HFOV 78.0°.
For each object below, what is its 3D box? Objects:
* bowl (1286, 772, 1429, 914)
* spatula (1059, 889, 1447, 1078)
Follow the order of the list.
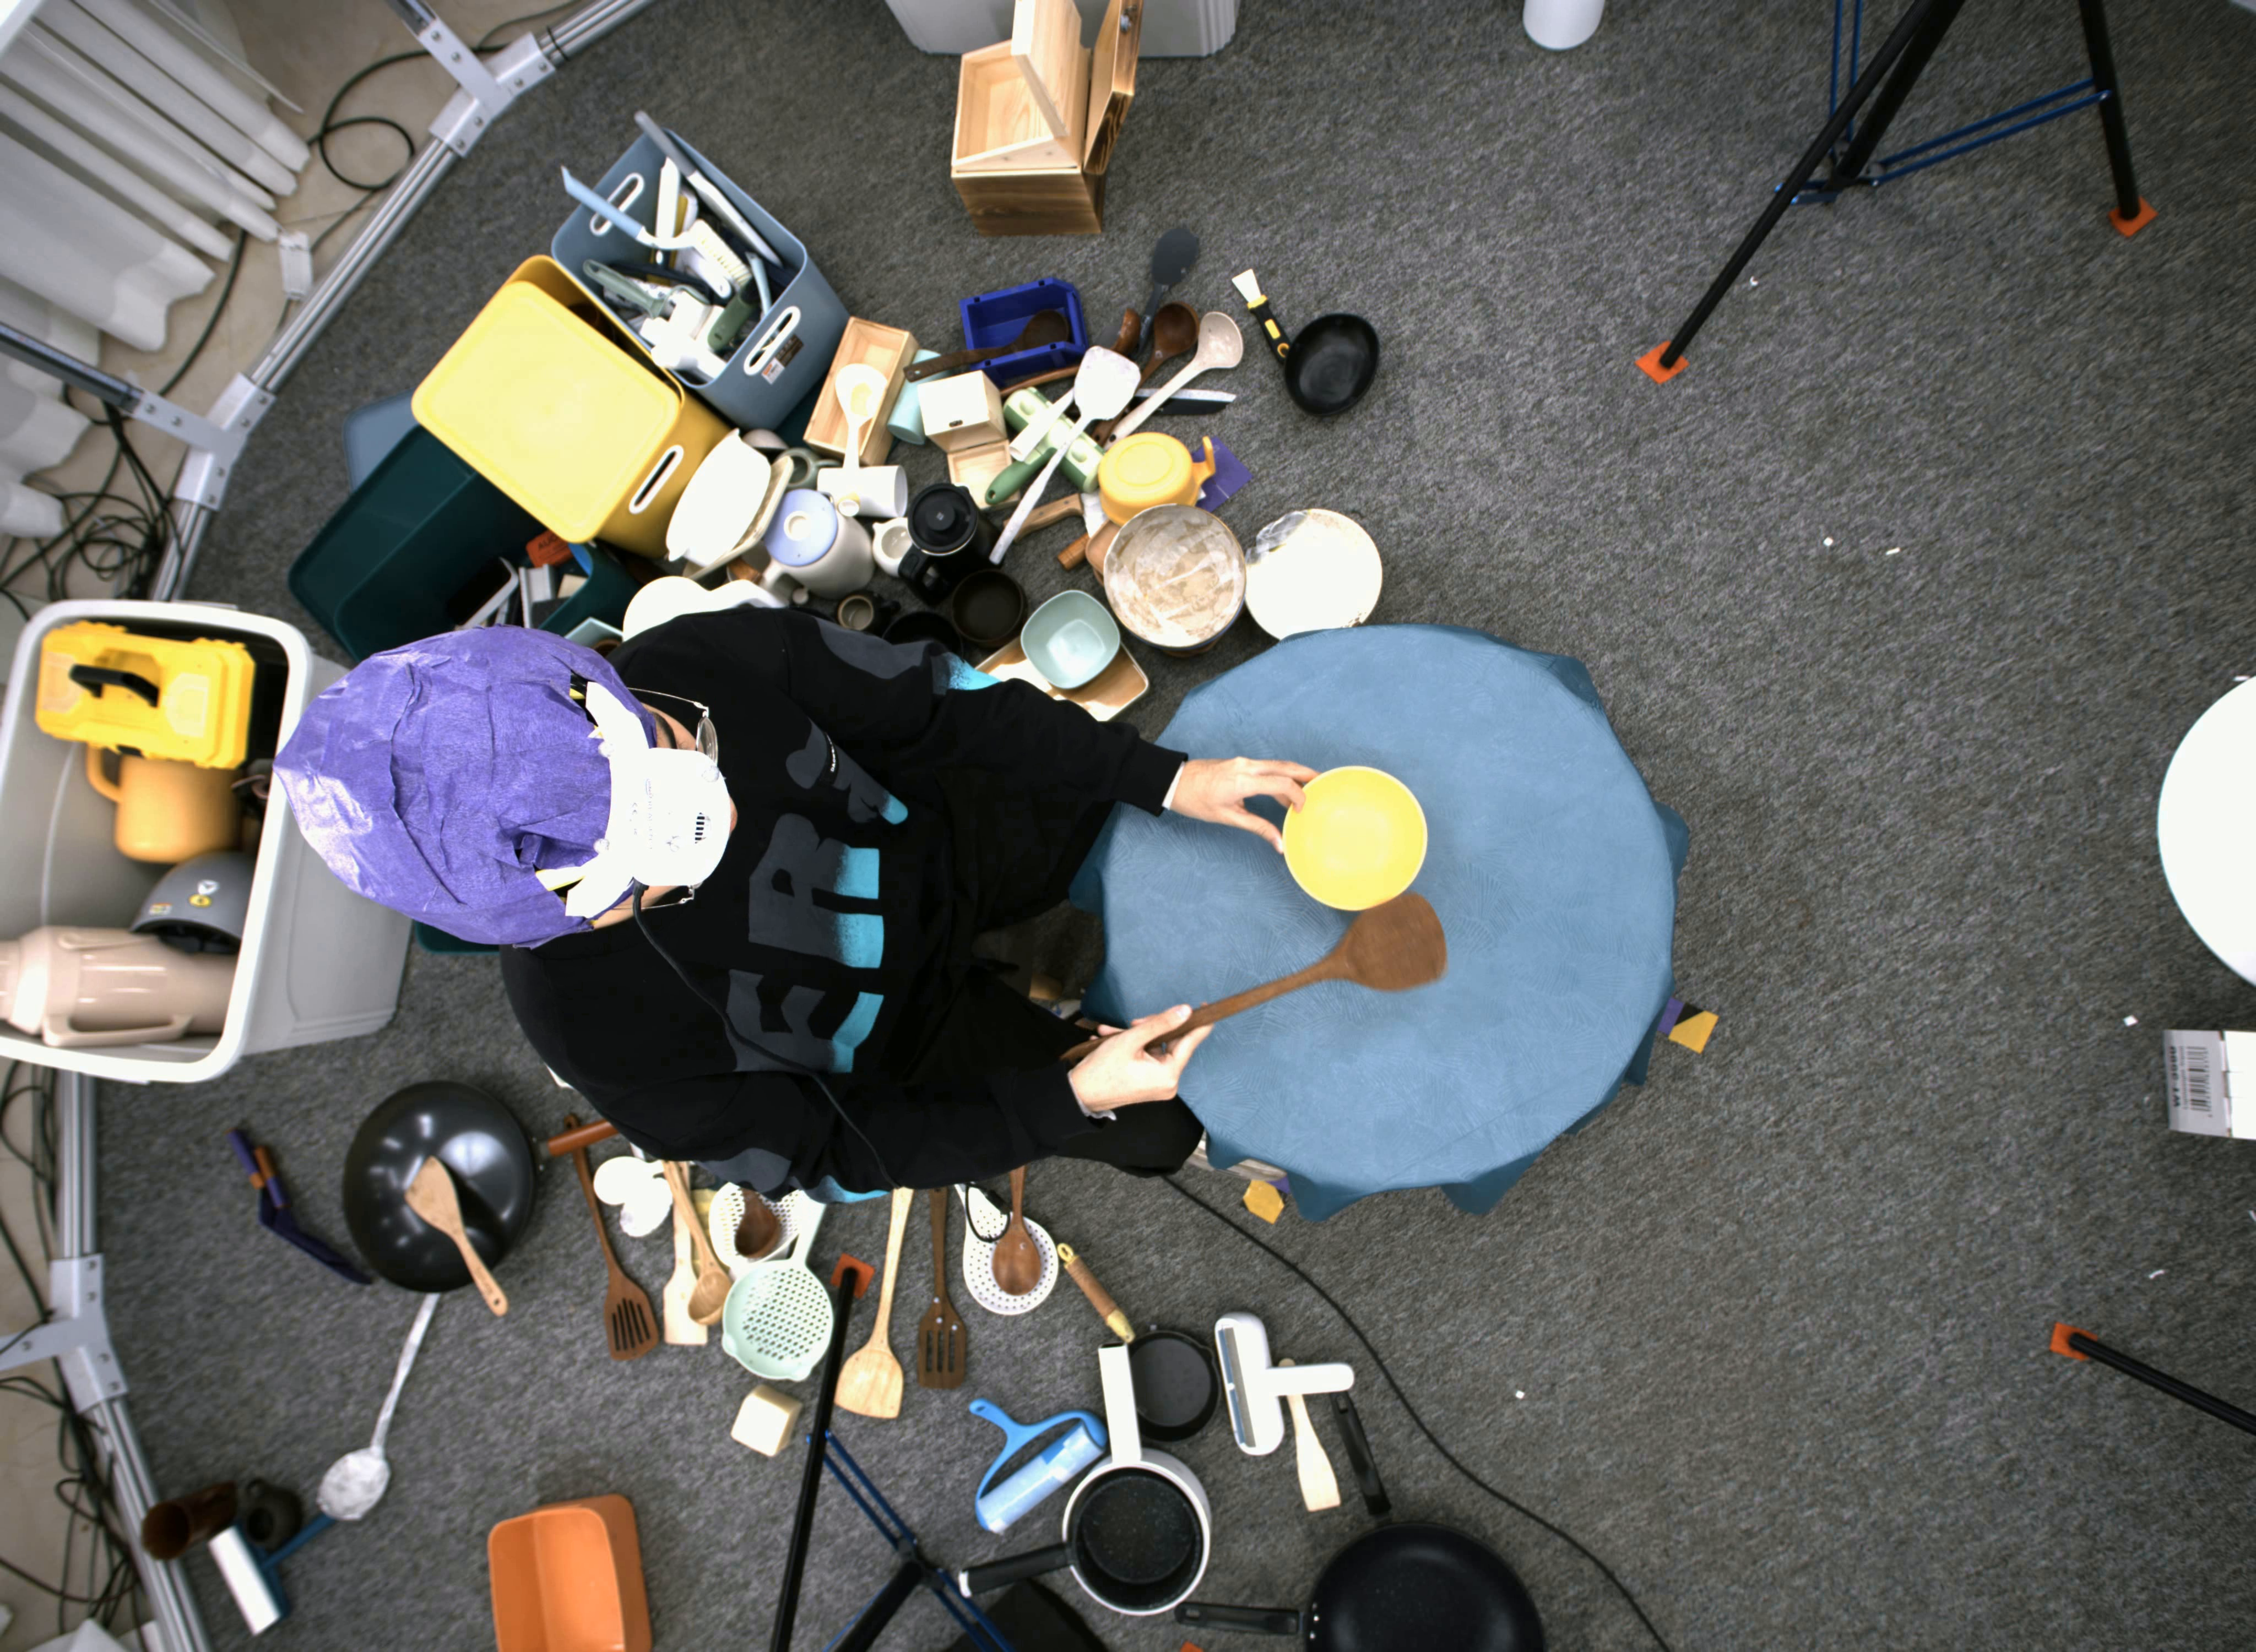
[{"bbox_3d":[0.235,0.018,1.420,0.146,0.060,0.145,-1,87,9],"label":"bowl"},{"bbox_3d":[0.117,0.162,1.311,0.386,0.015,0.097,-21,107,1],"label":"spatula"}]
